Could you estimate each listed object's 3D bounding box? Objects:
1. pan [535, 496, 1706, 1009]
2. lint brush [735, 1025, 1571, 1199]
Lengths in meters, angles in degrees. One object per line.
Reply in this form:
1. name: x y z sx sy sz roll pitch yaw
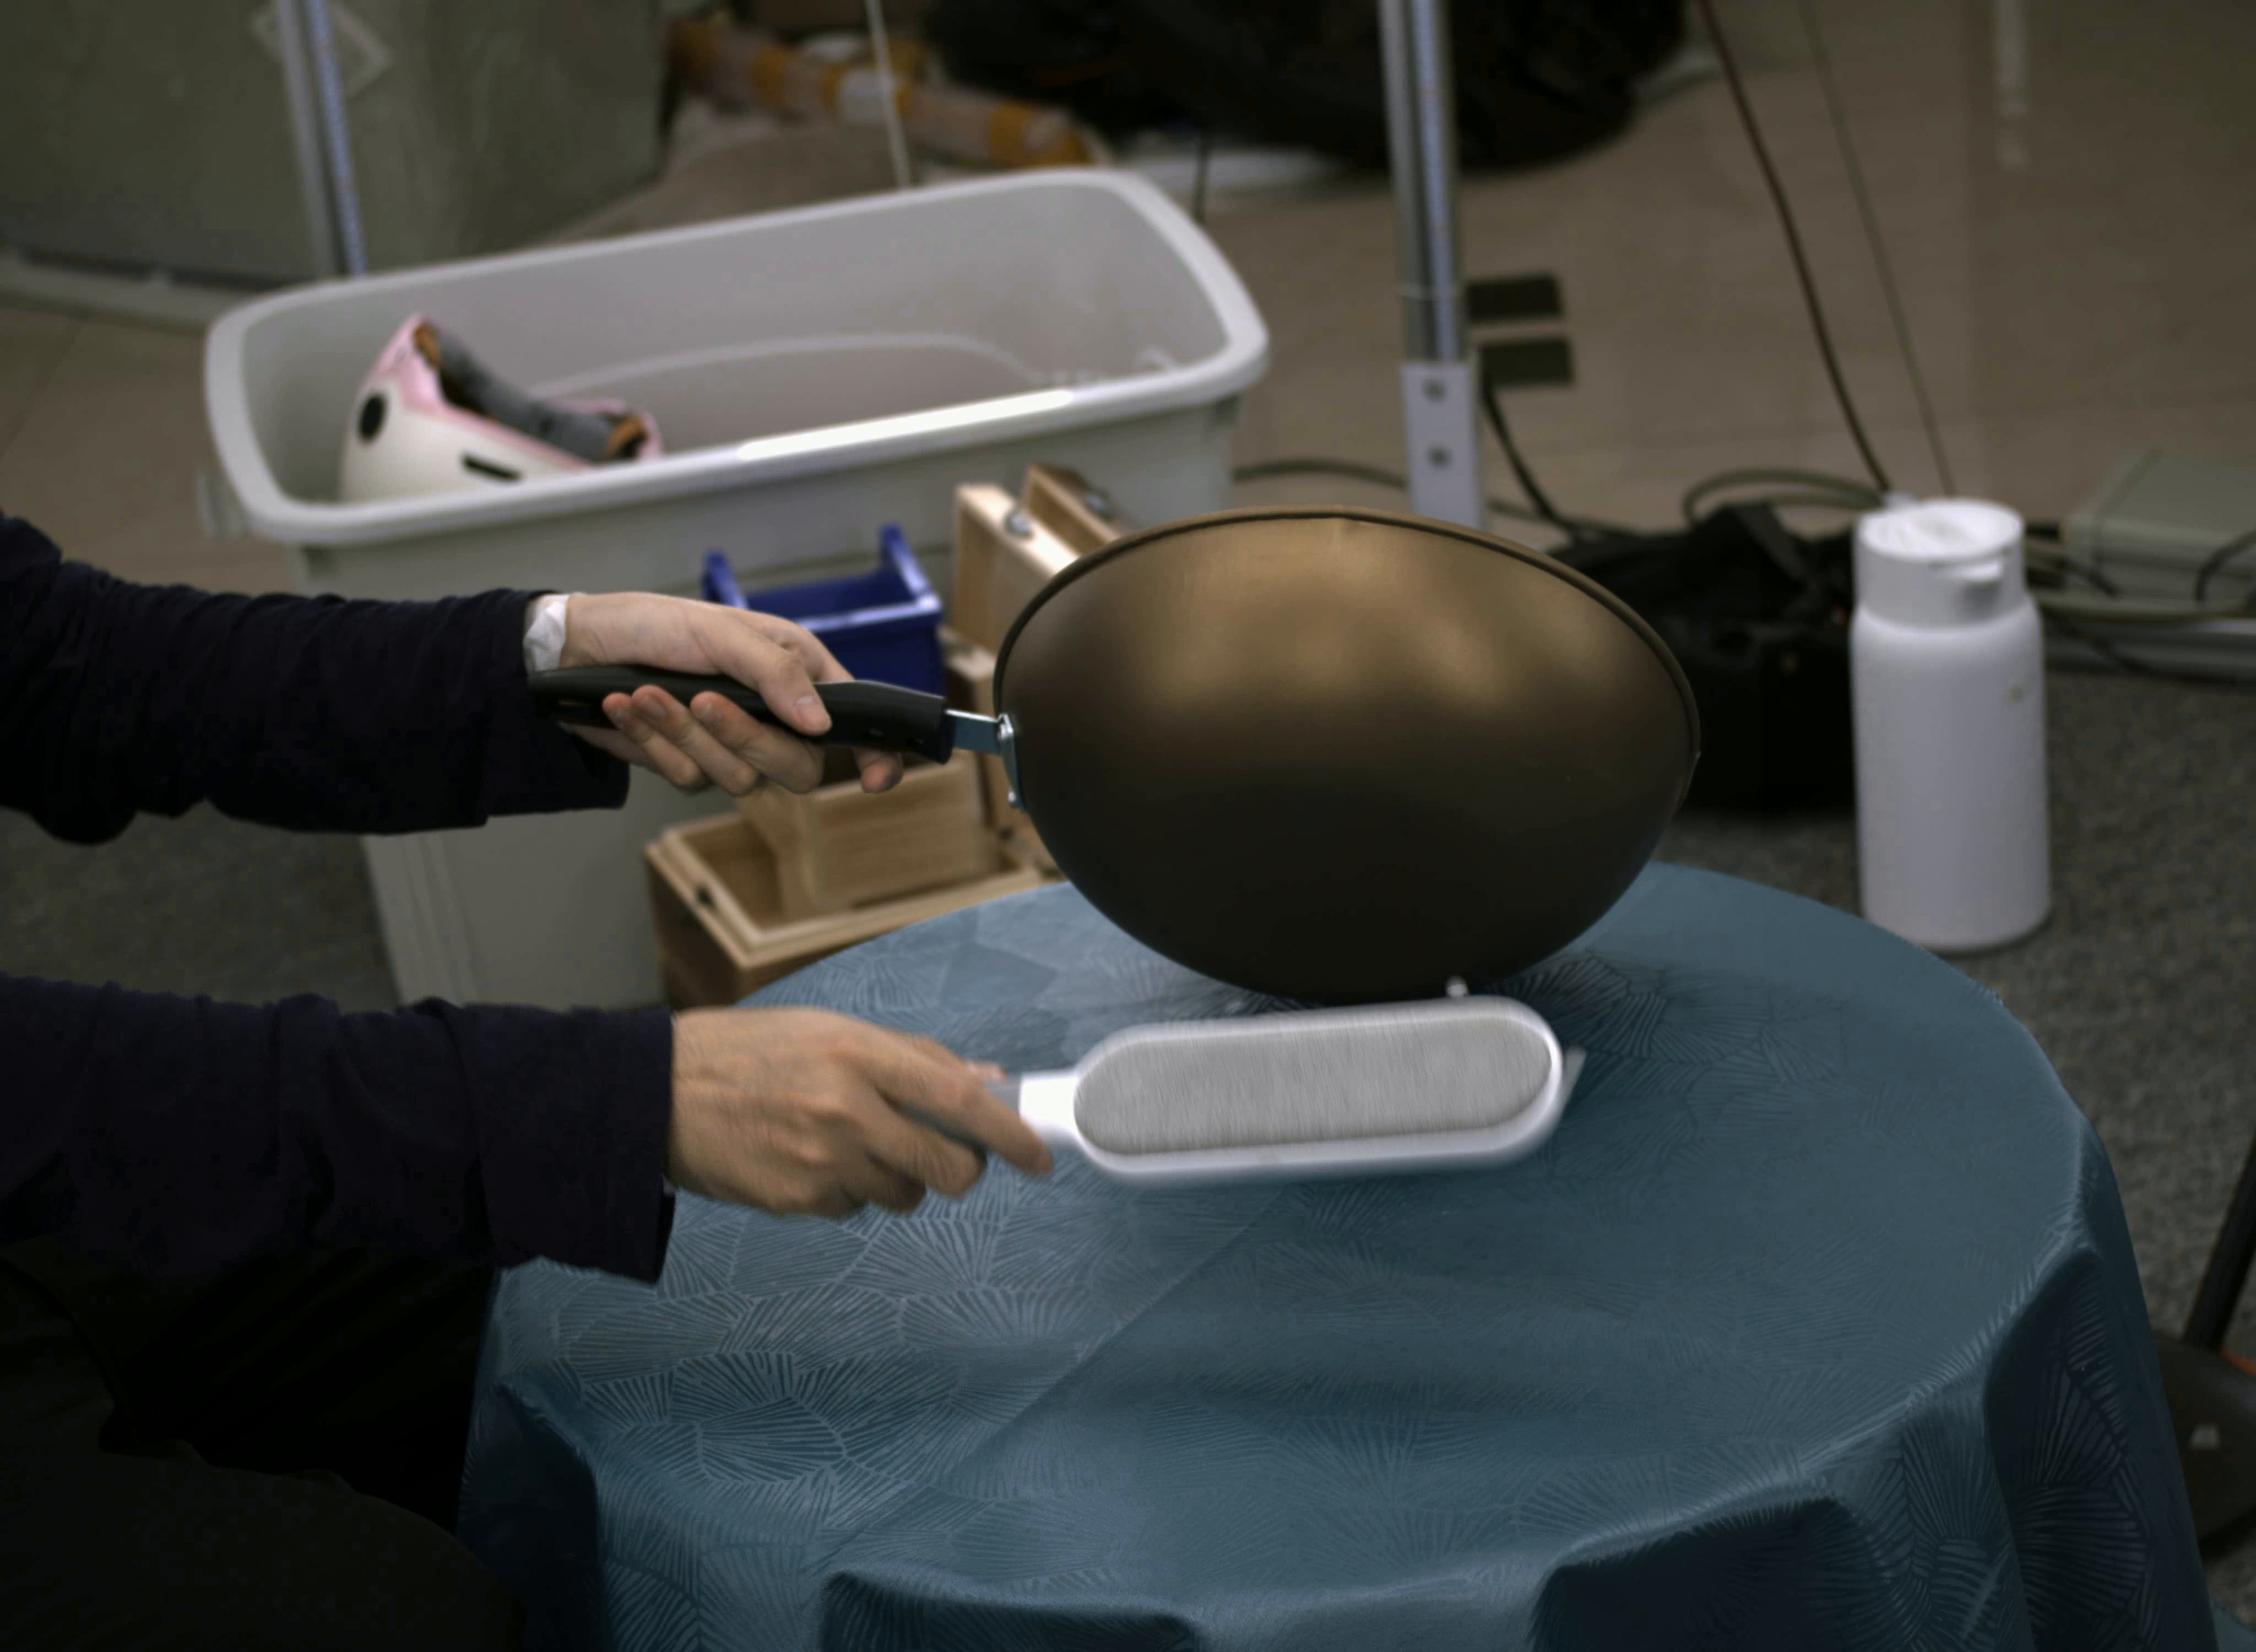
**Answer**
1. pan: -0.010 -0.013 2.196 0.462 0.293 0.085 3 56 7
2. lint brush: 0.006 0.104 2.014 0.308 0.021 0.059 -4 65 17
